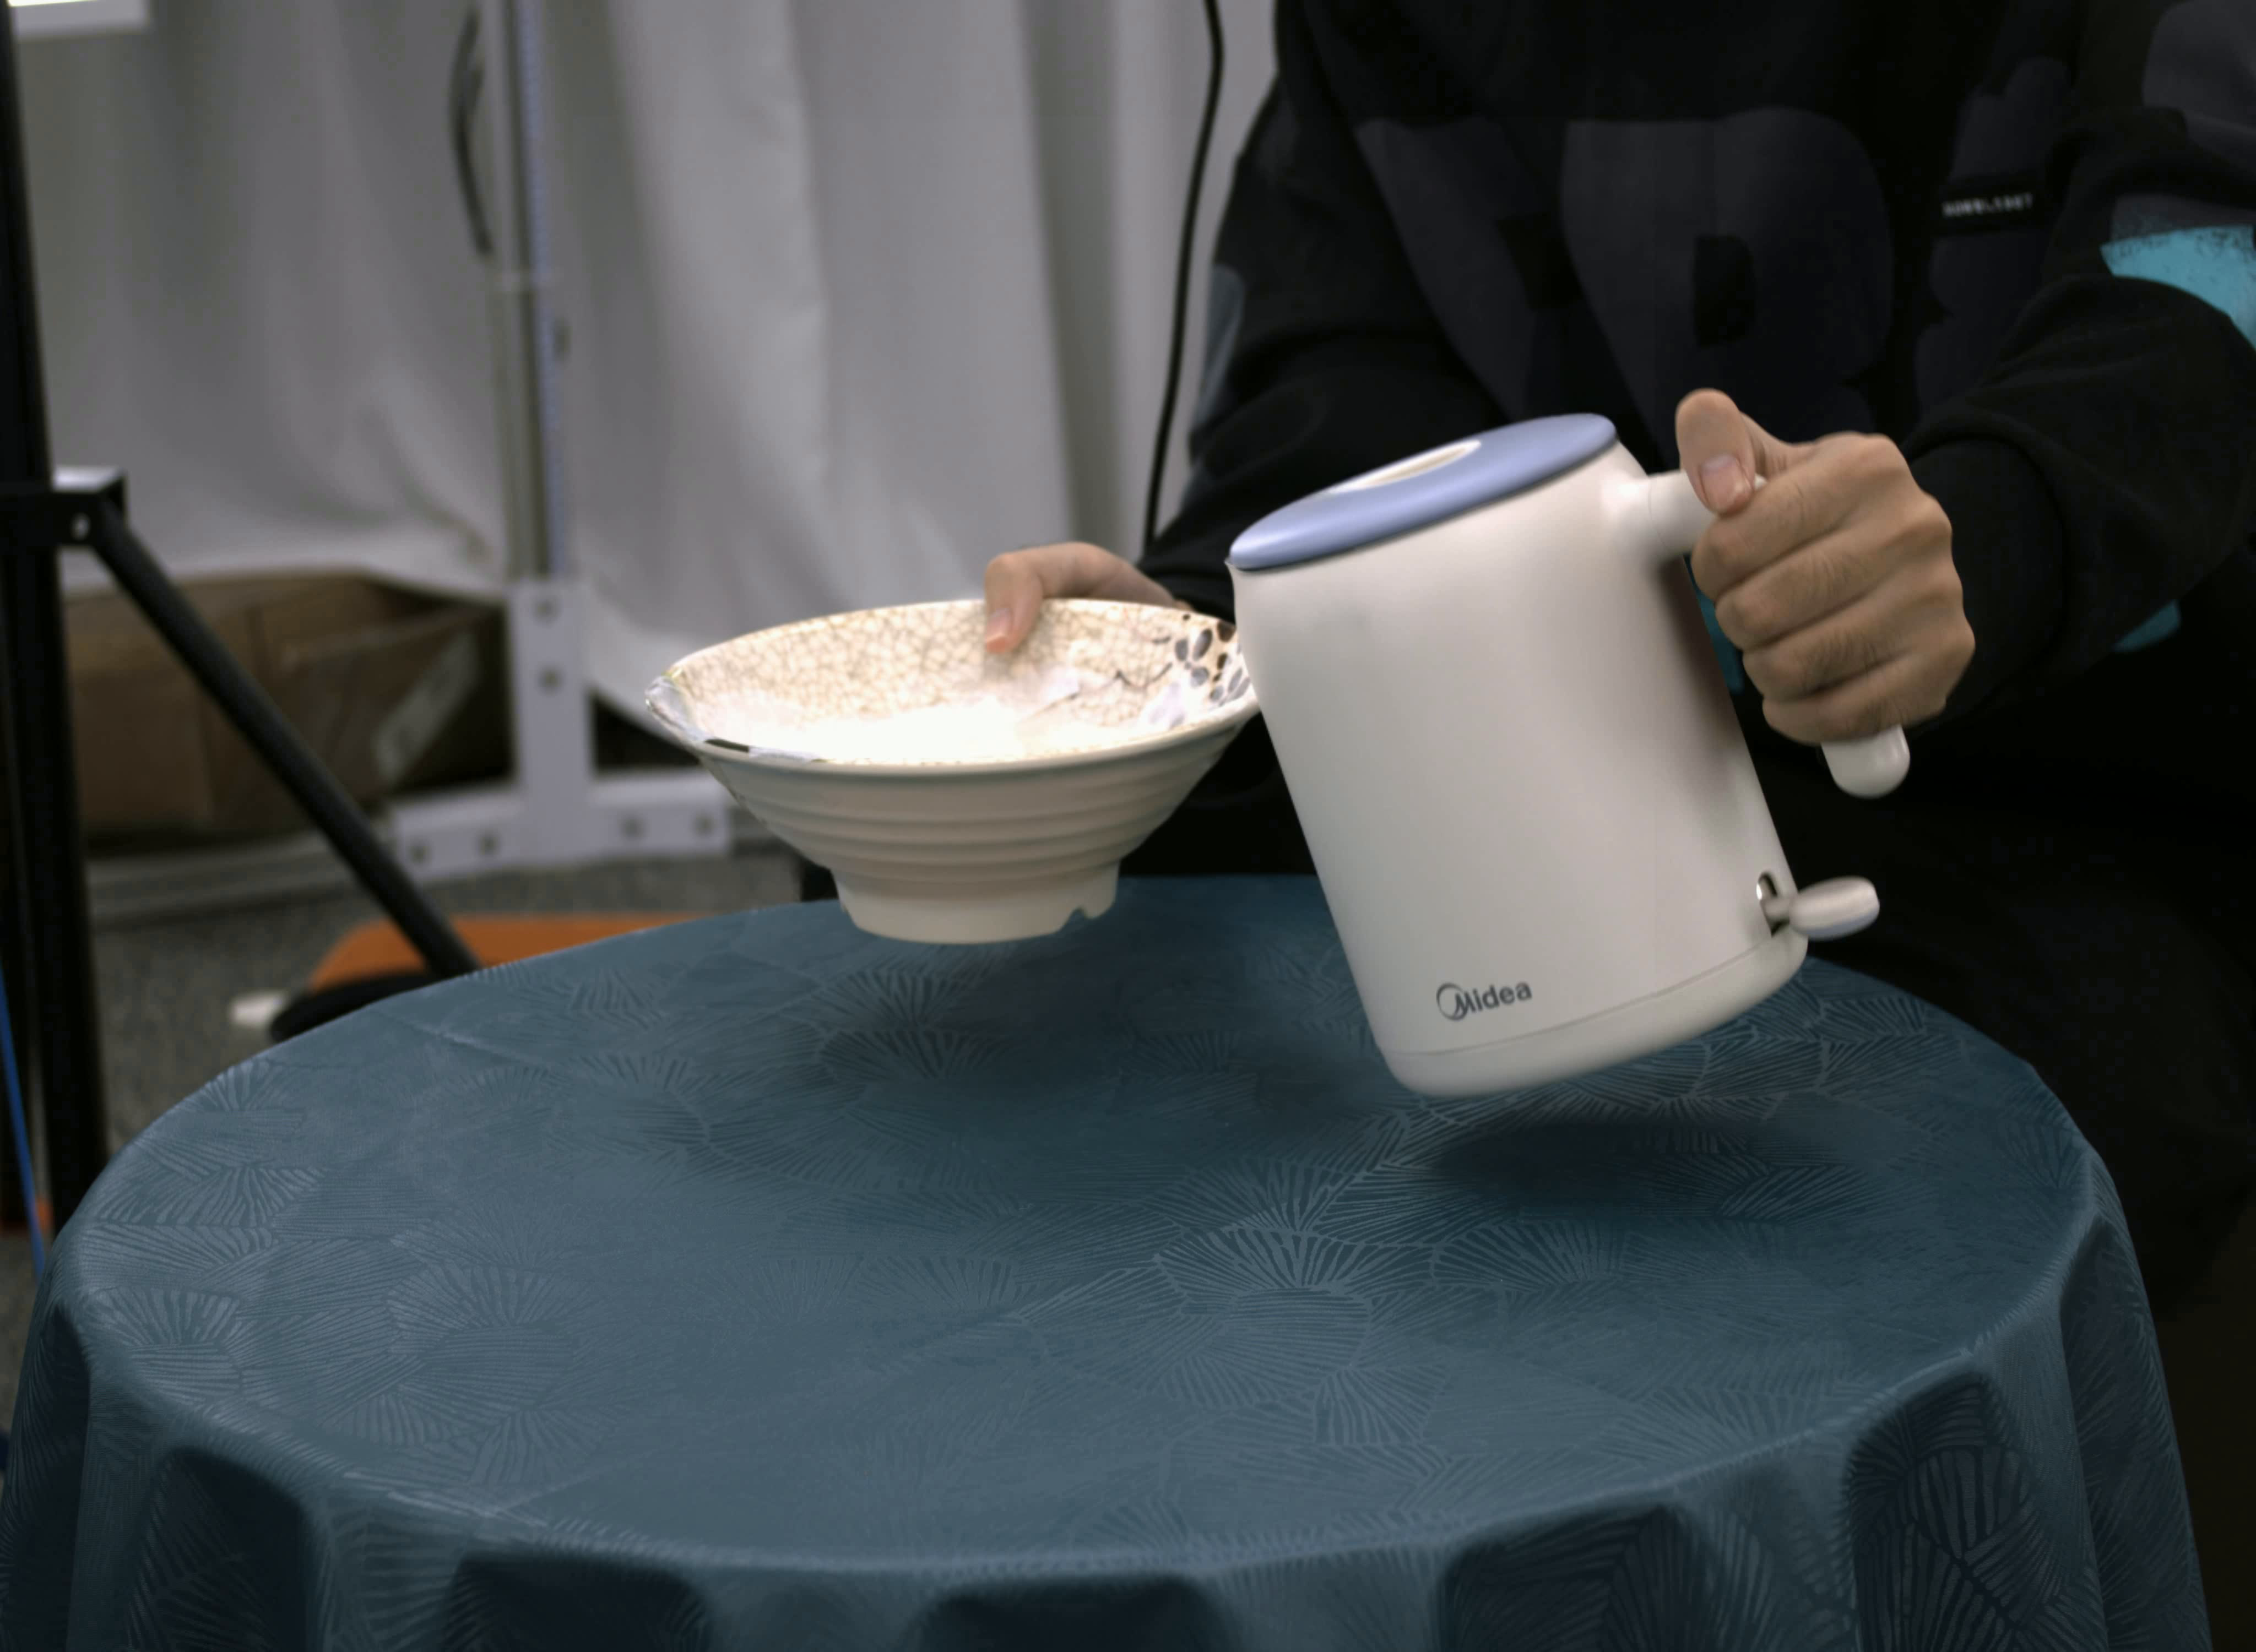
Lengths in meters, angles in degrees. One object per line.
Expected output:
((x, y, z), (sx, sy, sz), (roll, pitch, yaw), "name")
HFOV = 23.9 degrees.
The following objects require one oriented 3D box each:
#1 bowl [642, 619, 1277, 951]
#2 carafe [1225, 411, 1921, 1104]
((-0.052, -0.008, 1.690), (0.203, 0.078, 0.205), (-1, 13, -1), "bowl")
((0.134, -0.024, 1.536), (0.194, 0.182, 0.130), (-11, 11, 31), "carafe")
